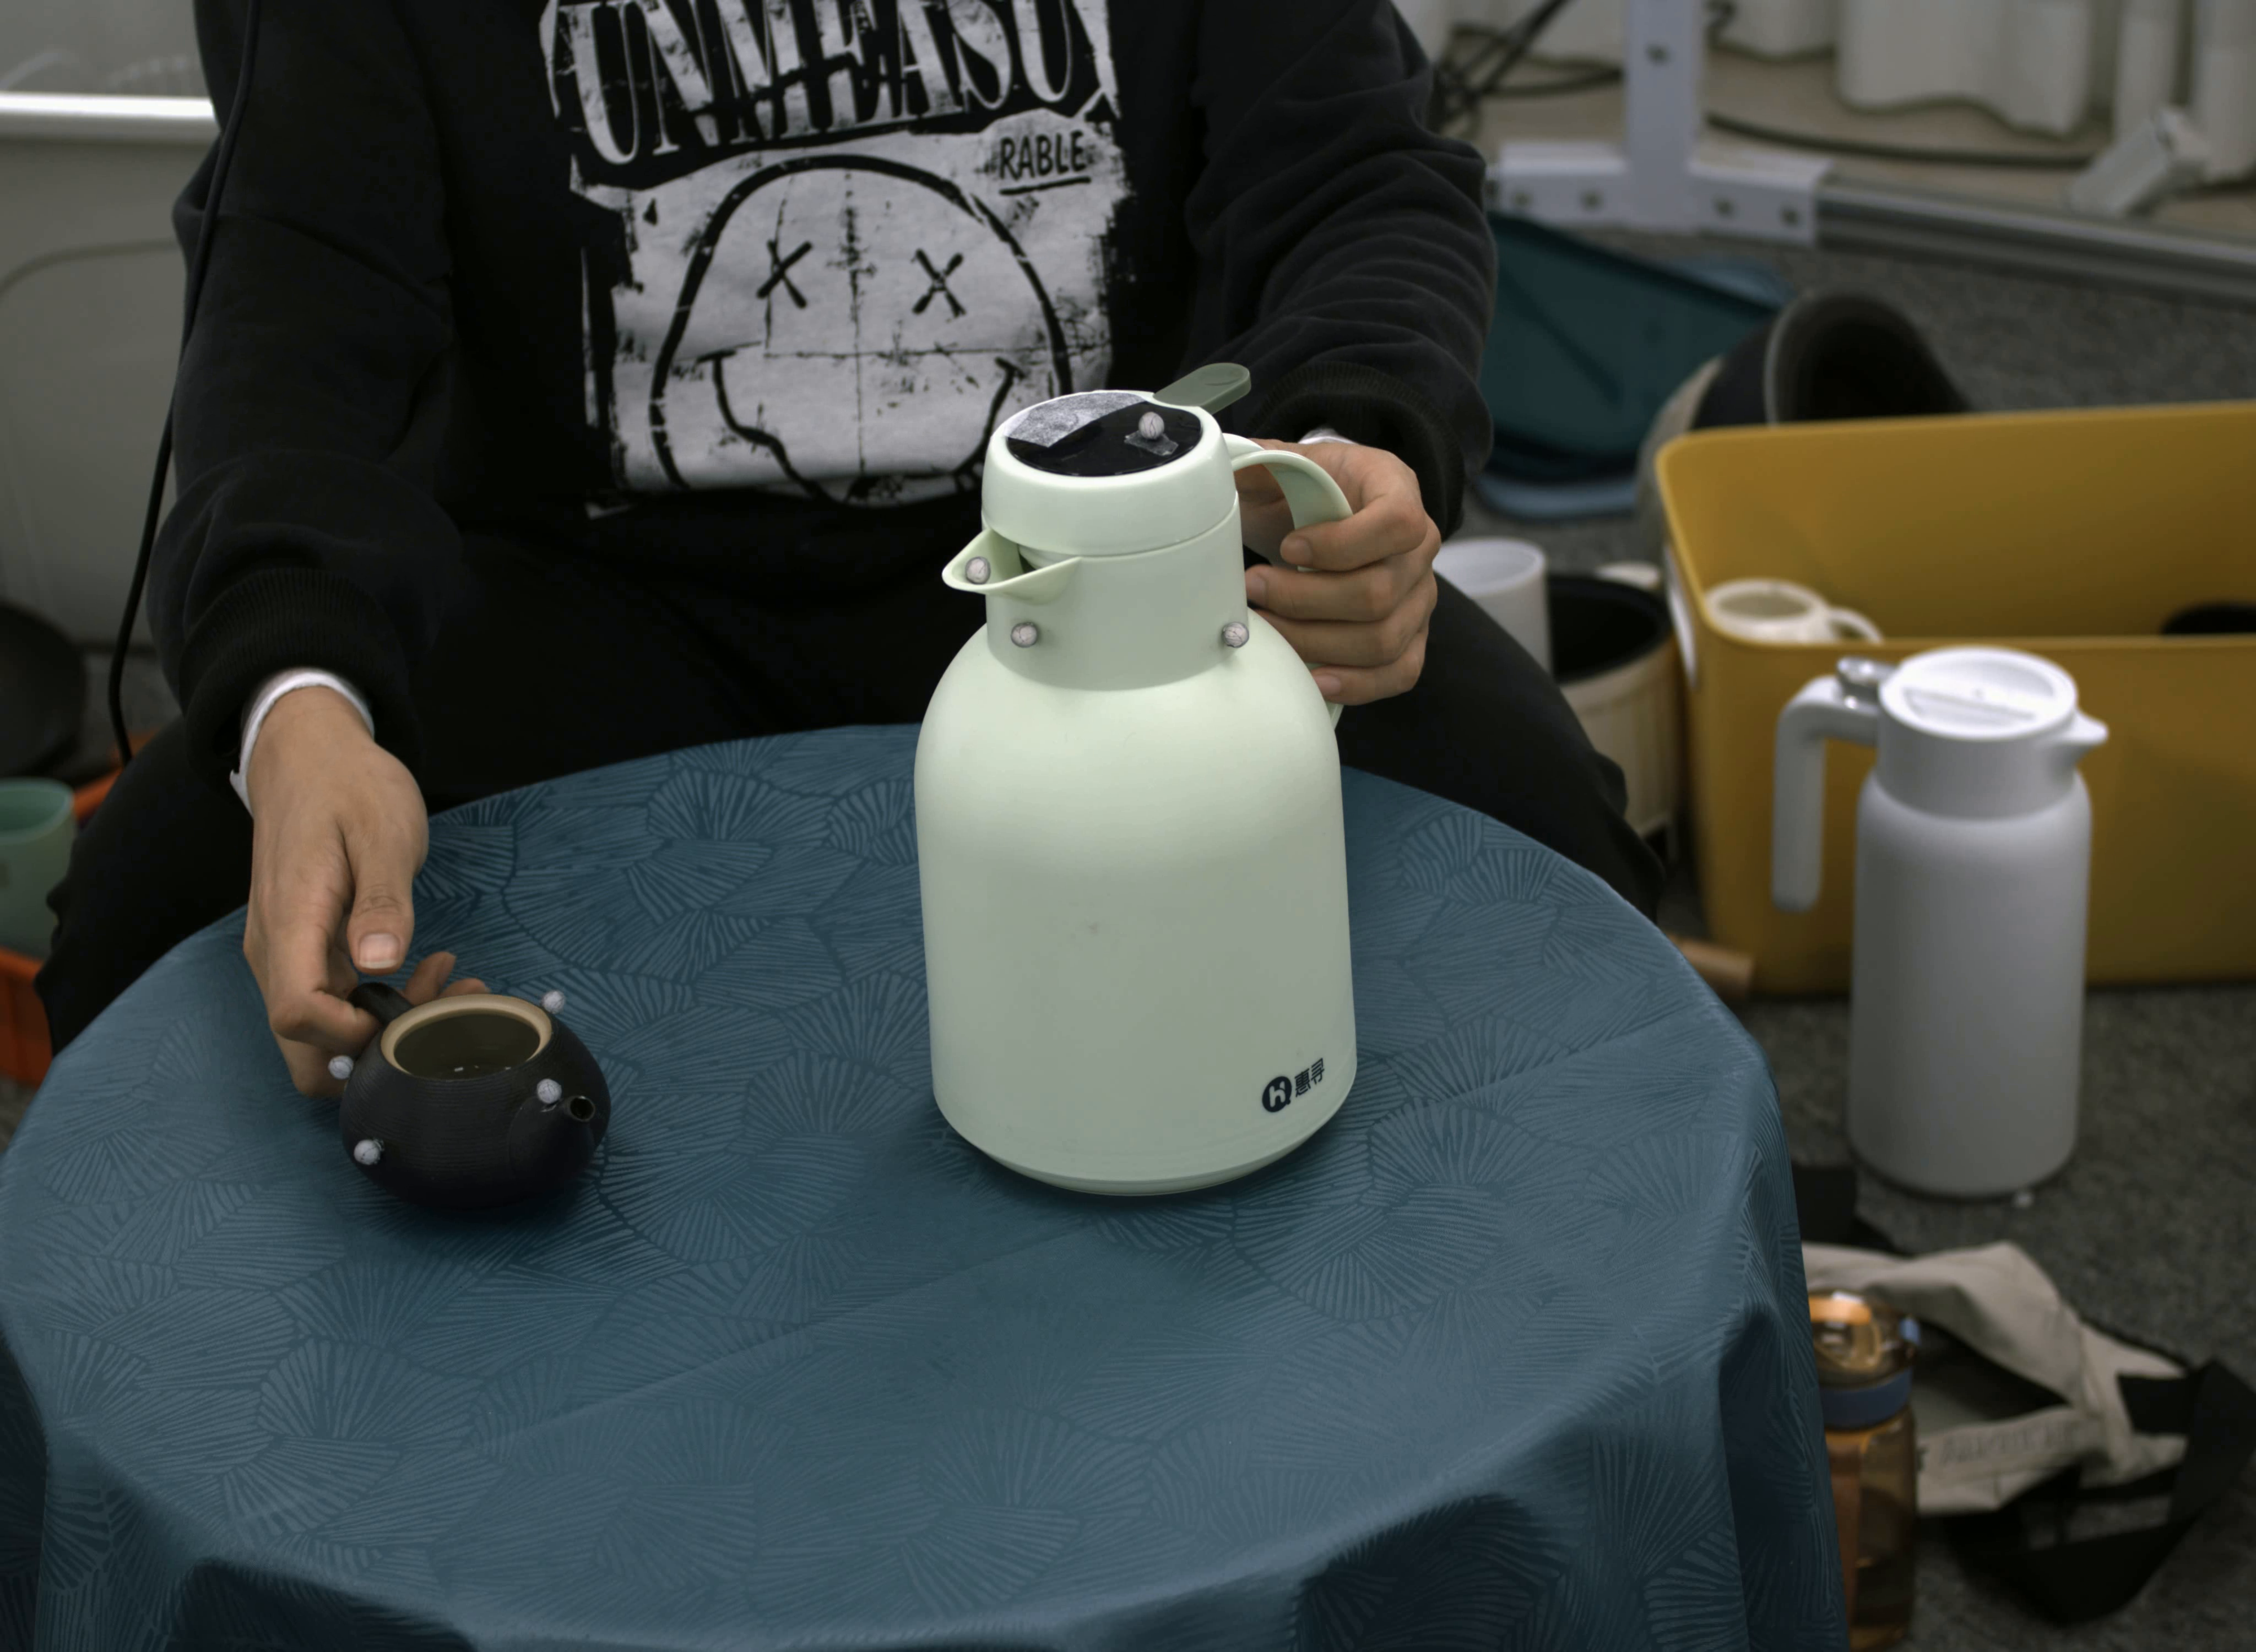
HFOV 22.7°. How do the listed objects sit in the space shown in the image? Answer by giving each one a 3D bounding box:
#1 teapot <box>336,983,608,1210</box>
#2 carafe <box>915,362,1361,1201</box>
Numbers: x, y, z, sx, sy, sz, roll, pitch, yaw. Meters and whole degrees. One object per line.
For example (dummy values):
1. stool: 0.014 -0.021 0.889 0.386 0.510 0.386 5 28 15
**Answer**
1. teapot: -0.220 0.093 1.877 0.092 0.052 0.133 -24 34 -38
2. carafe: 0.010 -0.020 1.863 0.143 0.254 0.189 16 29 37
